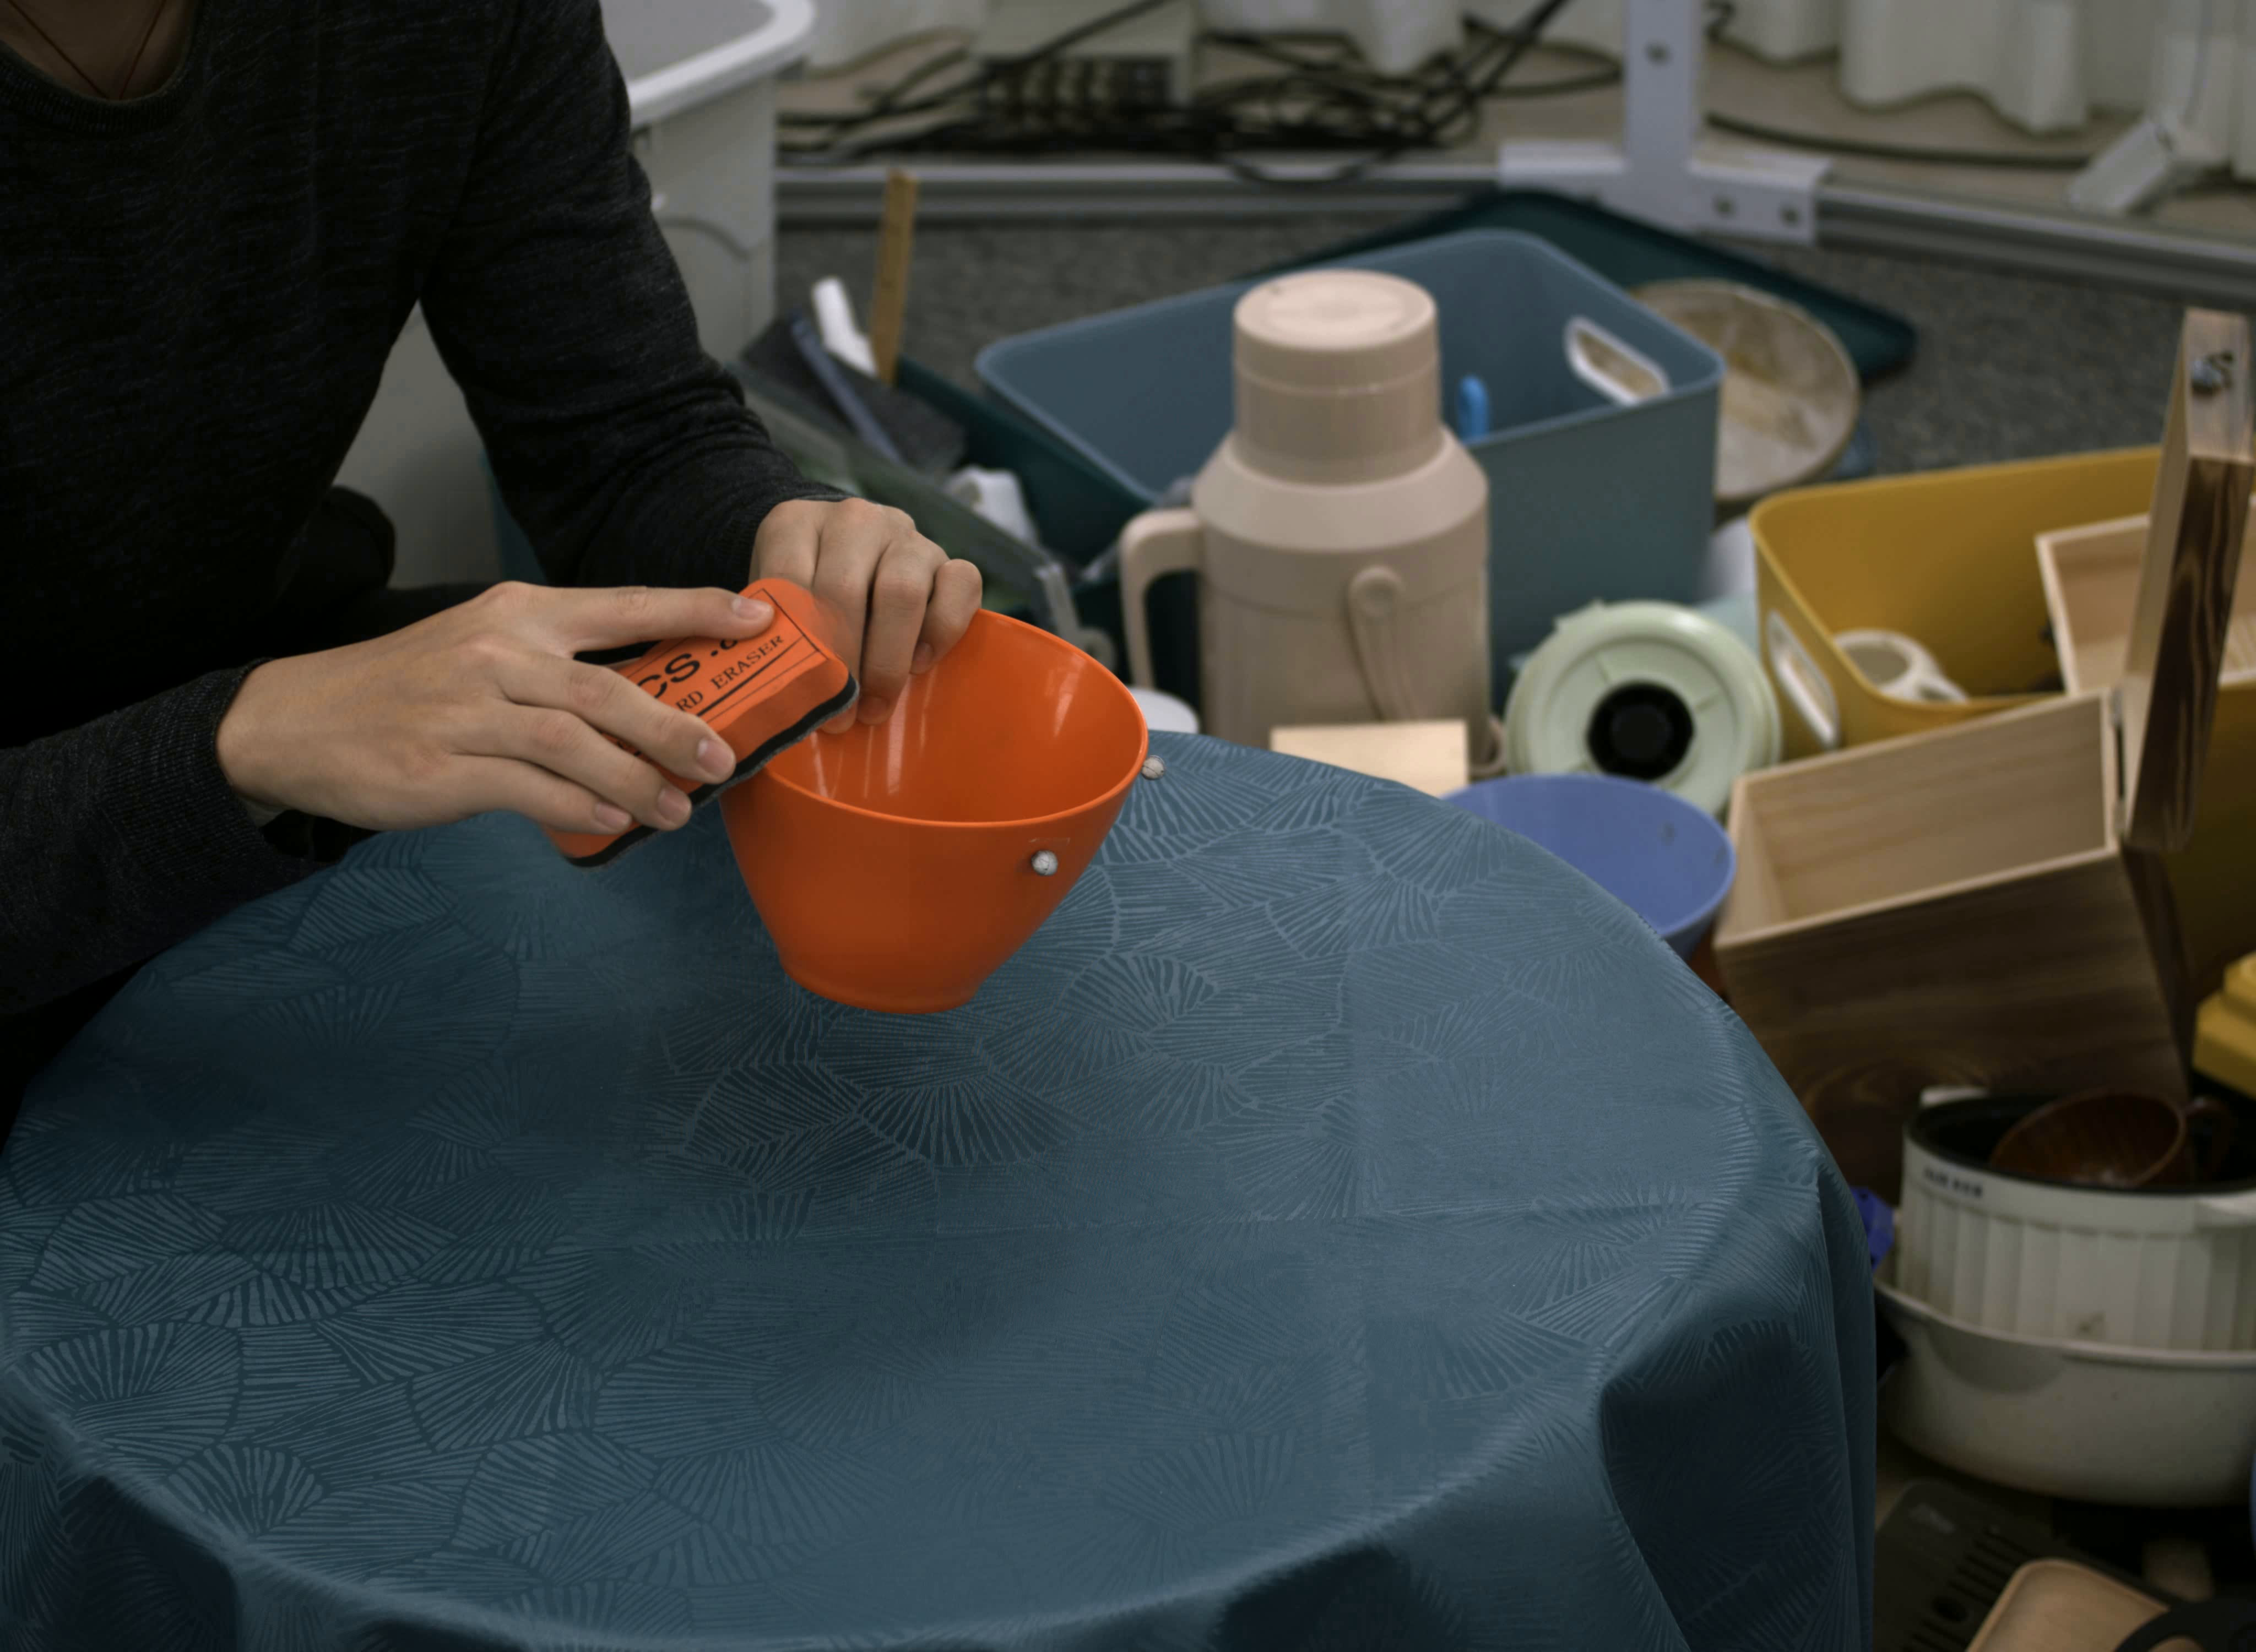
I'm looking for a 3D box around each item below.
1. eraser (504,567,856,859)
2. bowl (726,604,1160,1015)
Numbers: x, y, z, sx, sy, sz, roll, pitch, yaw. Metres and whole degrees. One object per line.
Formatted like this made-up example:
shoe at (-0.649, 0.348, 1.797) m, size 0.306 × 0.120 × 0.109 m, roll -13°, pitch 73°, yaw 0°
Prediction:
eraser at (-0.144, -0.036, 1.800) m, size 0.108 × 0.022 × 0.059 m, roll -34°, pitch 41°, yaw -11°
bowl at (-0.069, -0.001, 1.857) m, size 0.147 × 0.104 × 0.149 m, roll 10°, pitch 18°, yaw -3°
